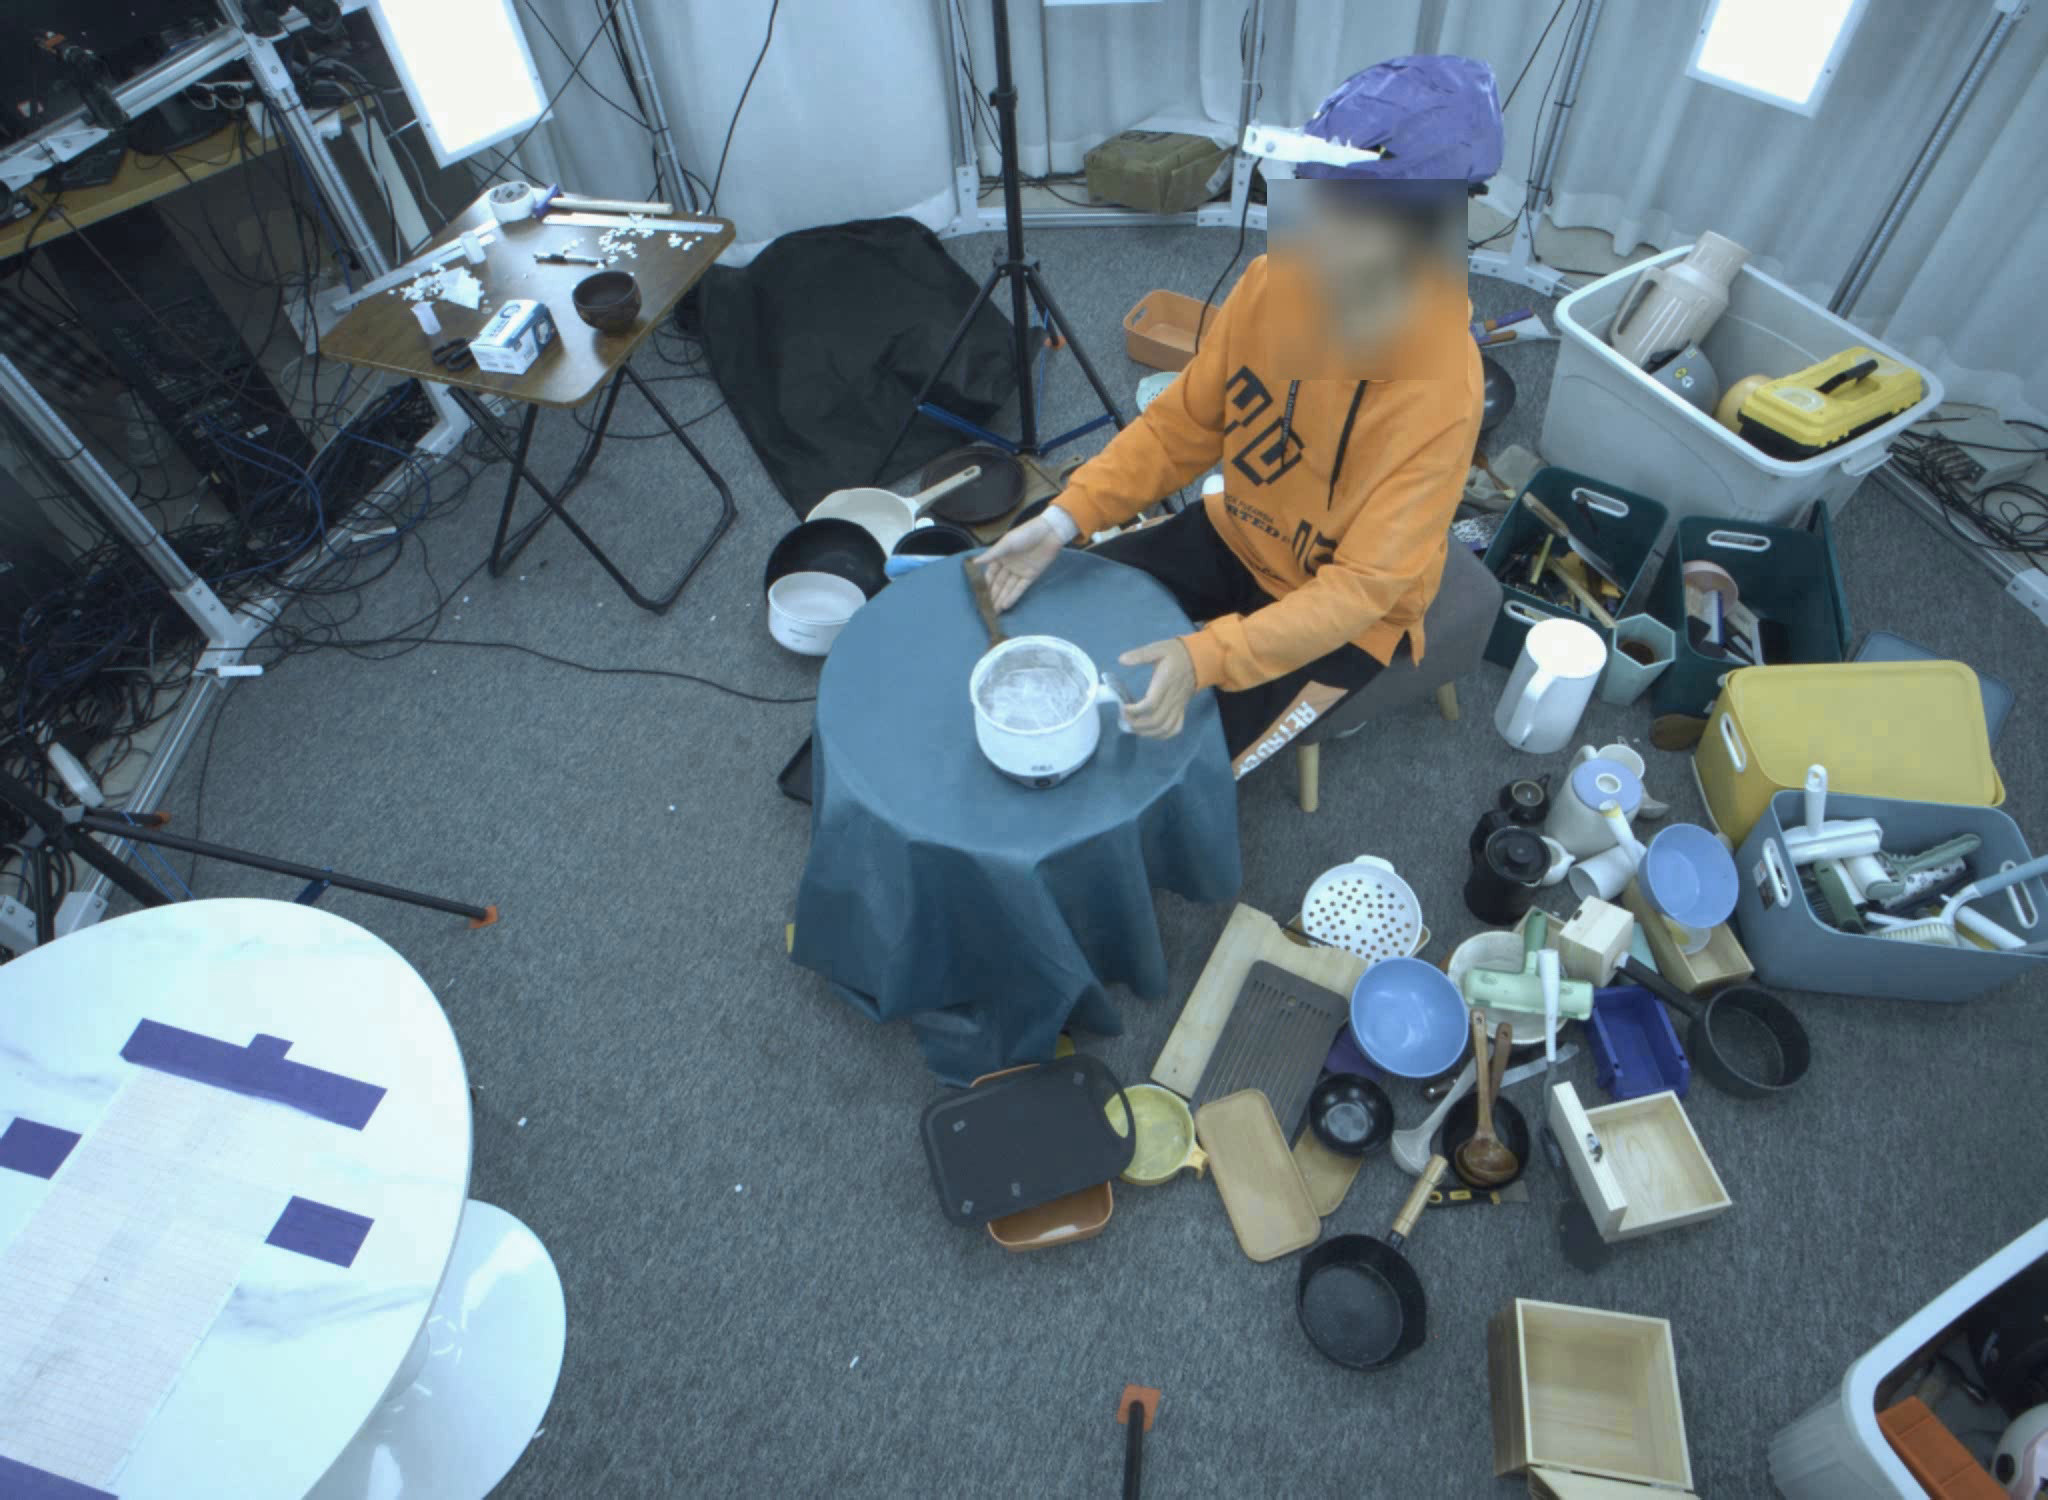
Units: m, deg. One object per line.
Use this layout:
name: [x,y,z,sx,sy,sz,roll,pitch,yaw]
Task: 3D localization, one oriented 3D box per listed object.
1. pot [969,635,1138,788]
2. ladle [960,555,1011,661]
pot: [0.045,-0.057,1.740,0.234,0.138,0.176,-7,55,-1]
ladle: [-0.058,-0.230,1.908,0.076,0.072,0.270,-14,57,-9]
